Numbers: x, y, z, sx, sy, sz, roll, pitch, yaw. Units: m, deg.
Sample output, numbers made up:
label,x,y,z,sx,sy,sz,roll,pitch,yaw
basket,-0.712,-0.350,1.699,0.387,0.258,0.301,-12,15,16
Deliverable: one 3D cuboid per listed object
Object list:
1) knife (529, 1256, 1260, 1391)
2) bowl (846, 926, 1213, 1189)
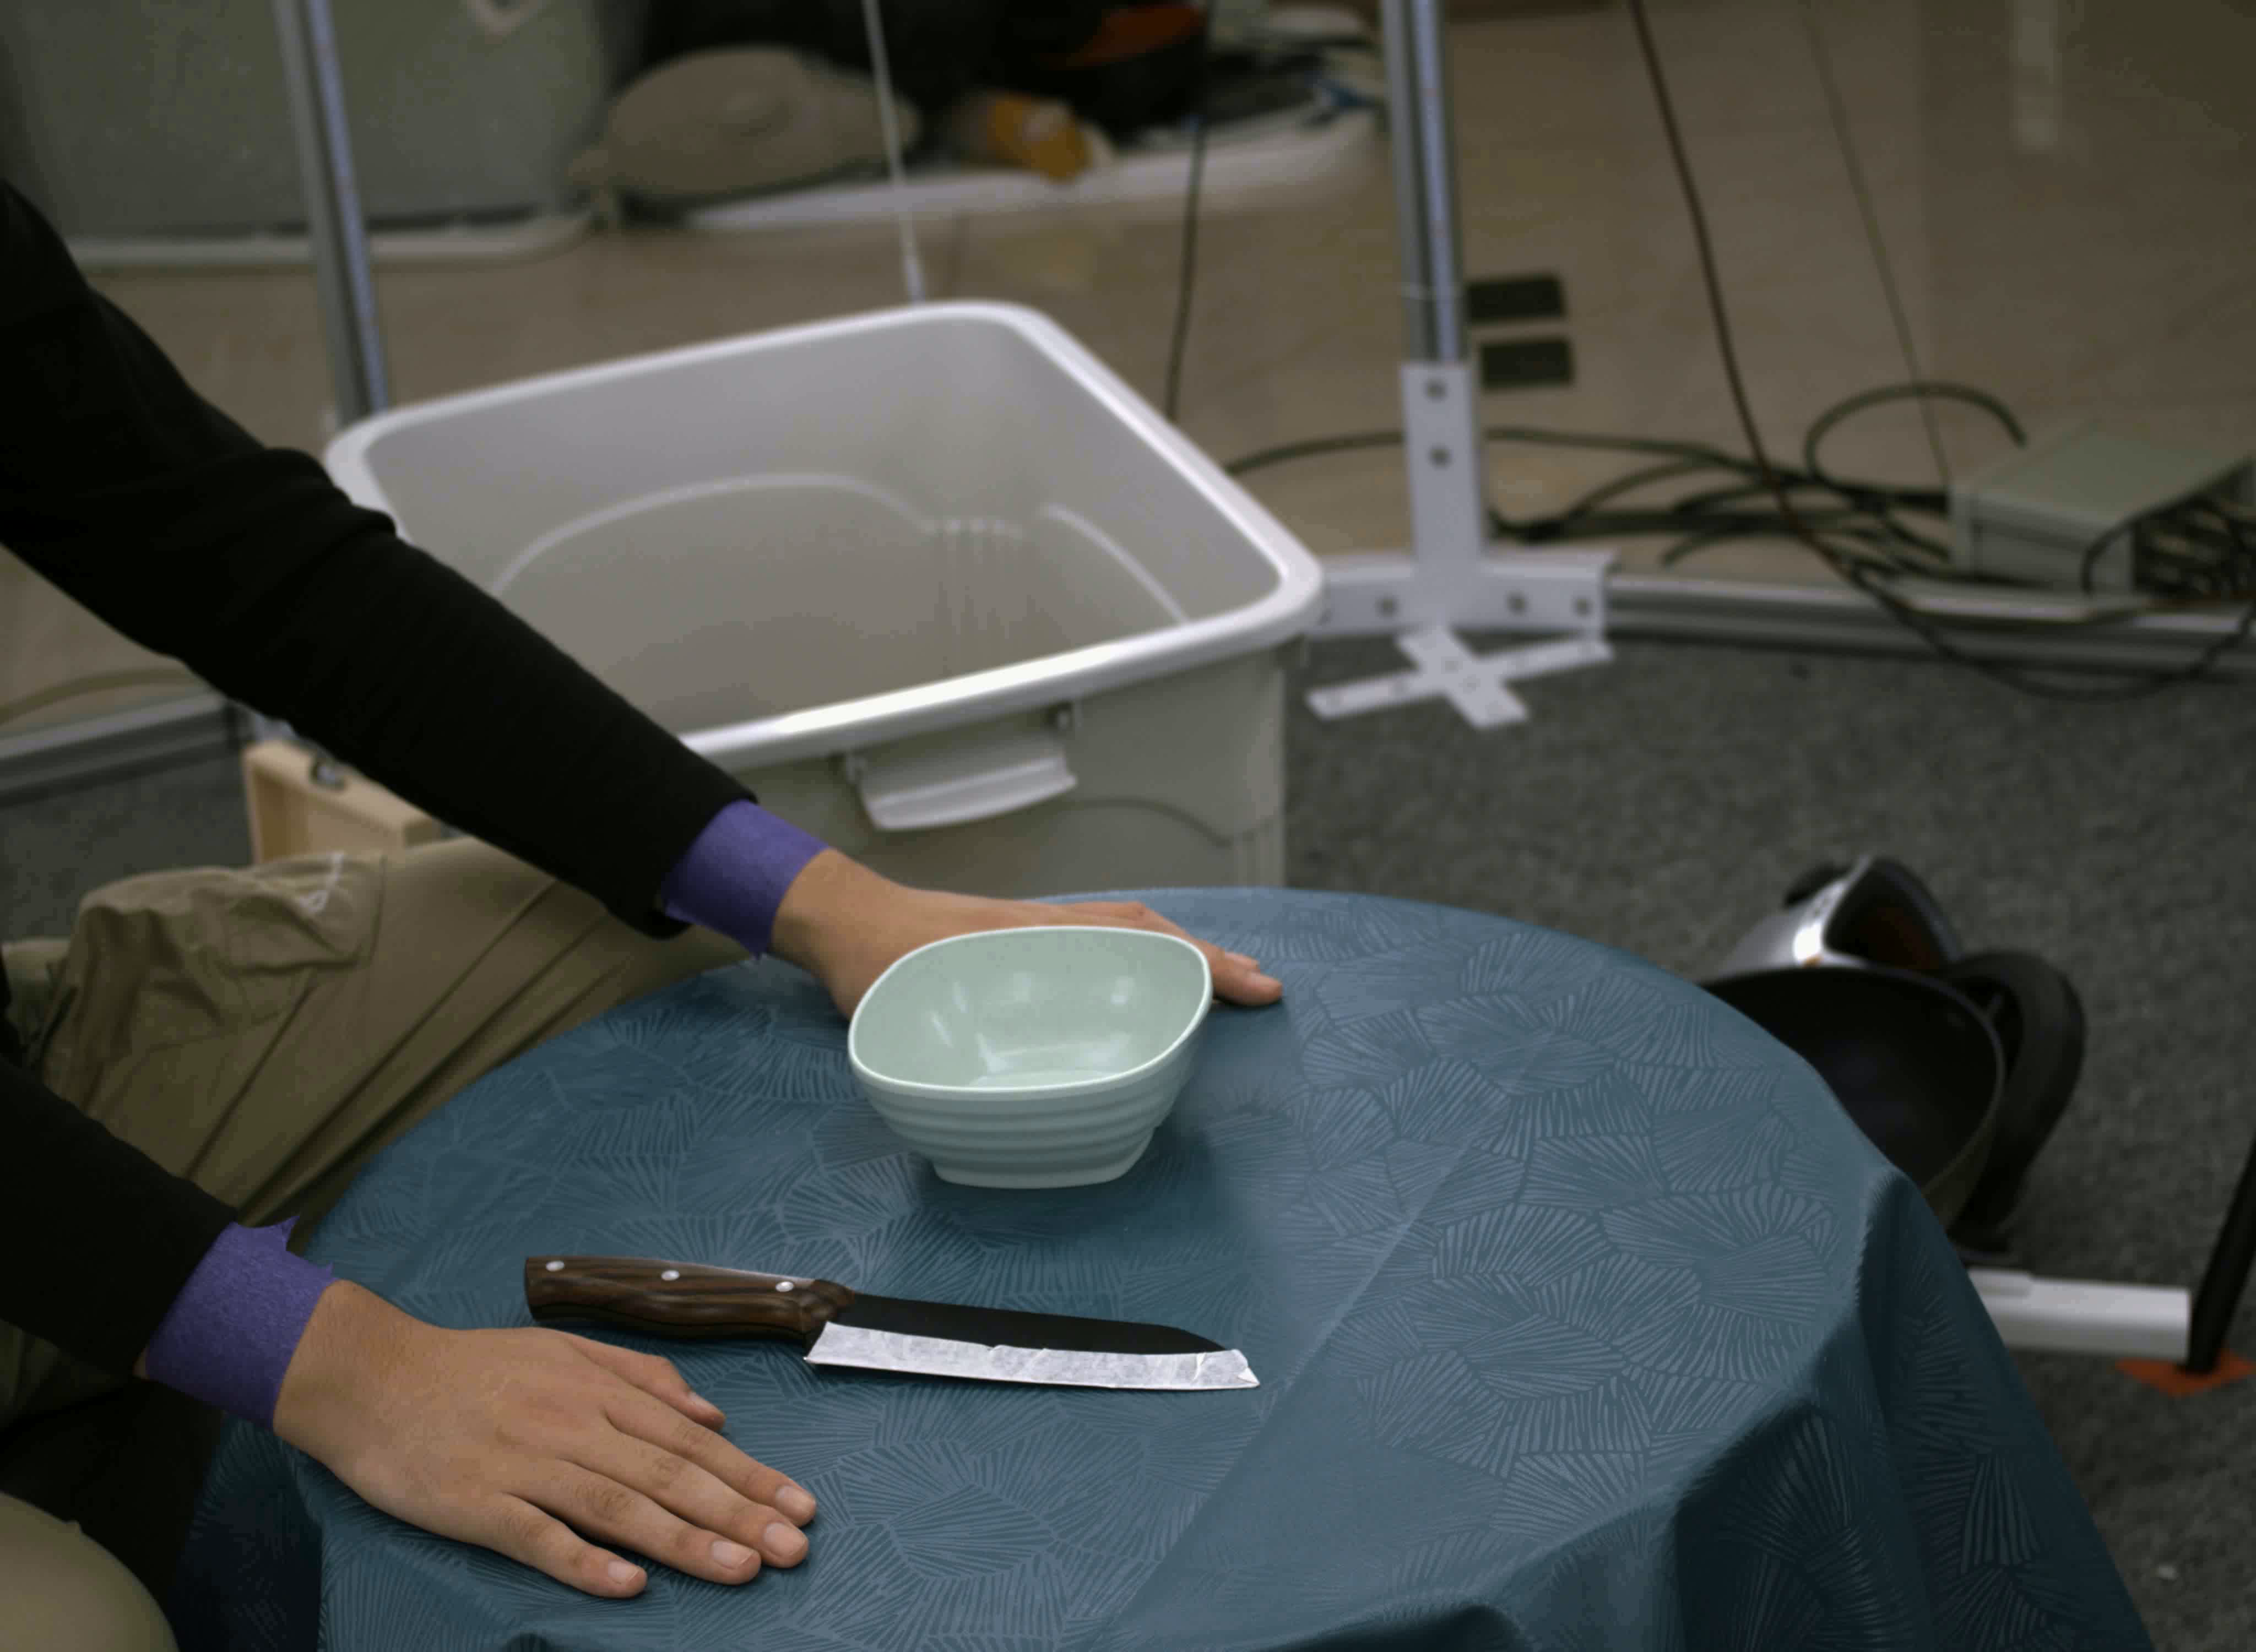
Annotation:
label,x,y,z,sx,sy,sz,roll,pitch,yaw
knife,-0.088,0.183,2.061,0.288,0.020,0.049,5,32,19
bowl,-0.036,0.095,2.185,0.151,0.059,0.149,-3,26,2
